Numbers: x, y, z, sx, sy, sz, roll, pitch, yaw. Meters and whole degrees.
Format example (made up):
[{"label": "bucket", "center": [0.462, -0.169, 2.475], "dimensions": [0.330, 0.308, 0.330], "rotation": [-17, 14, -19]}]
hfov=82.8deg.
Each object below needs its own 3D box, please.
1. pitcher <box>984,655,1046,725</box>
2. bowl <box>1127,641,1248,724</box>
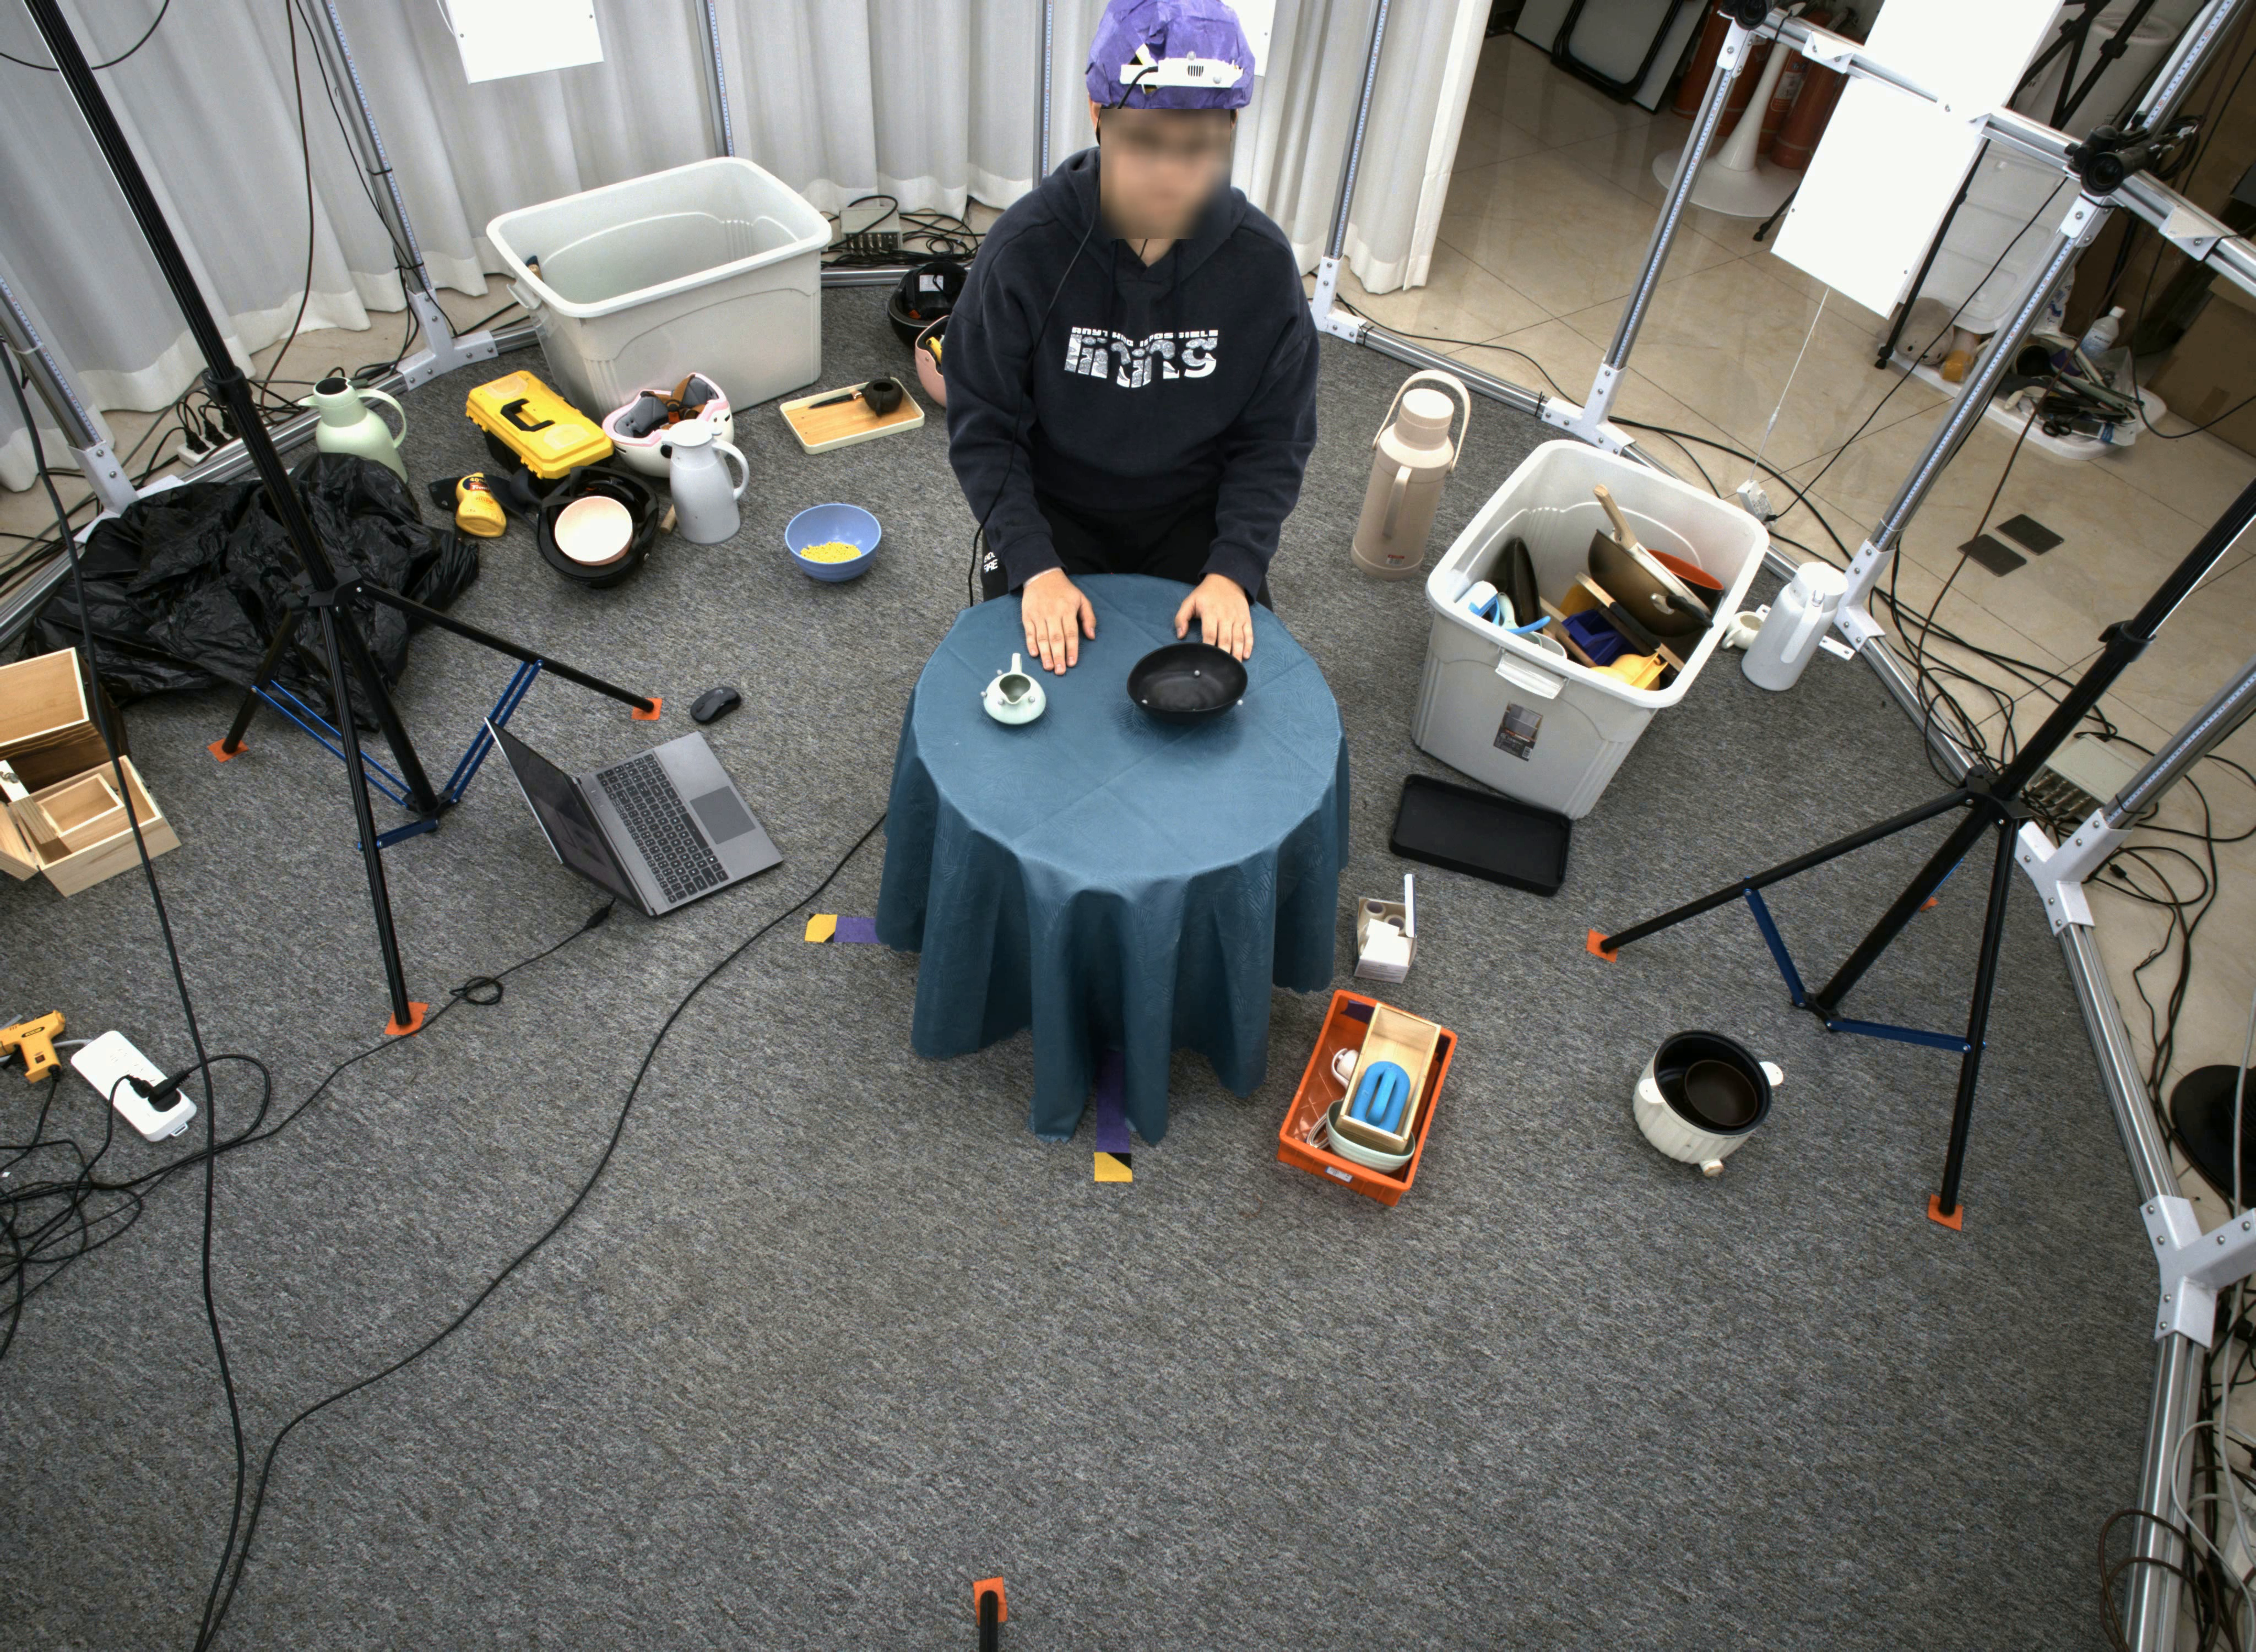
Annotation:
[{"label": "pitcher", "center": [-0.156, -0.187, 1.780], "dimensions": [0.086, 0.059, 0.111], "rotation": [2, 47, -4]}, {"label": "bowl", "center": [0.083, -0.187, 1.794], "dimensions": [0.170, 0.065, 0.141], "rotation": [-9, 50, -11]}]
